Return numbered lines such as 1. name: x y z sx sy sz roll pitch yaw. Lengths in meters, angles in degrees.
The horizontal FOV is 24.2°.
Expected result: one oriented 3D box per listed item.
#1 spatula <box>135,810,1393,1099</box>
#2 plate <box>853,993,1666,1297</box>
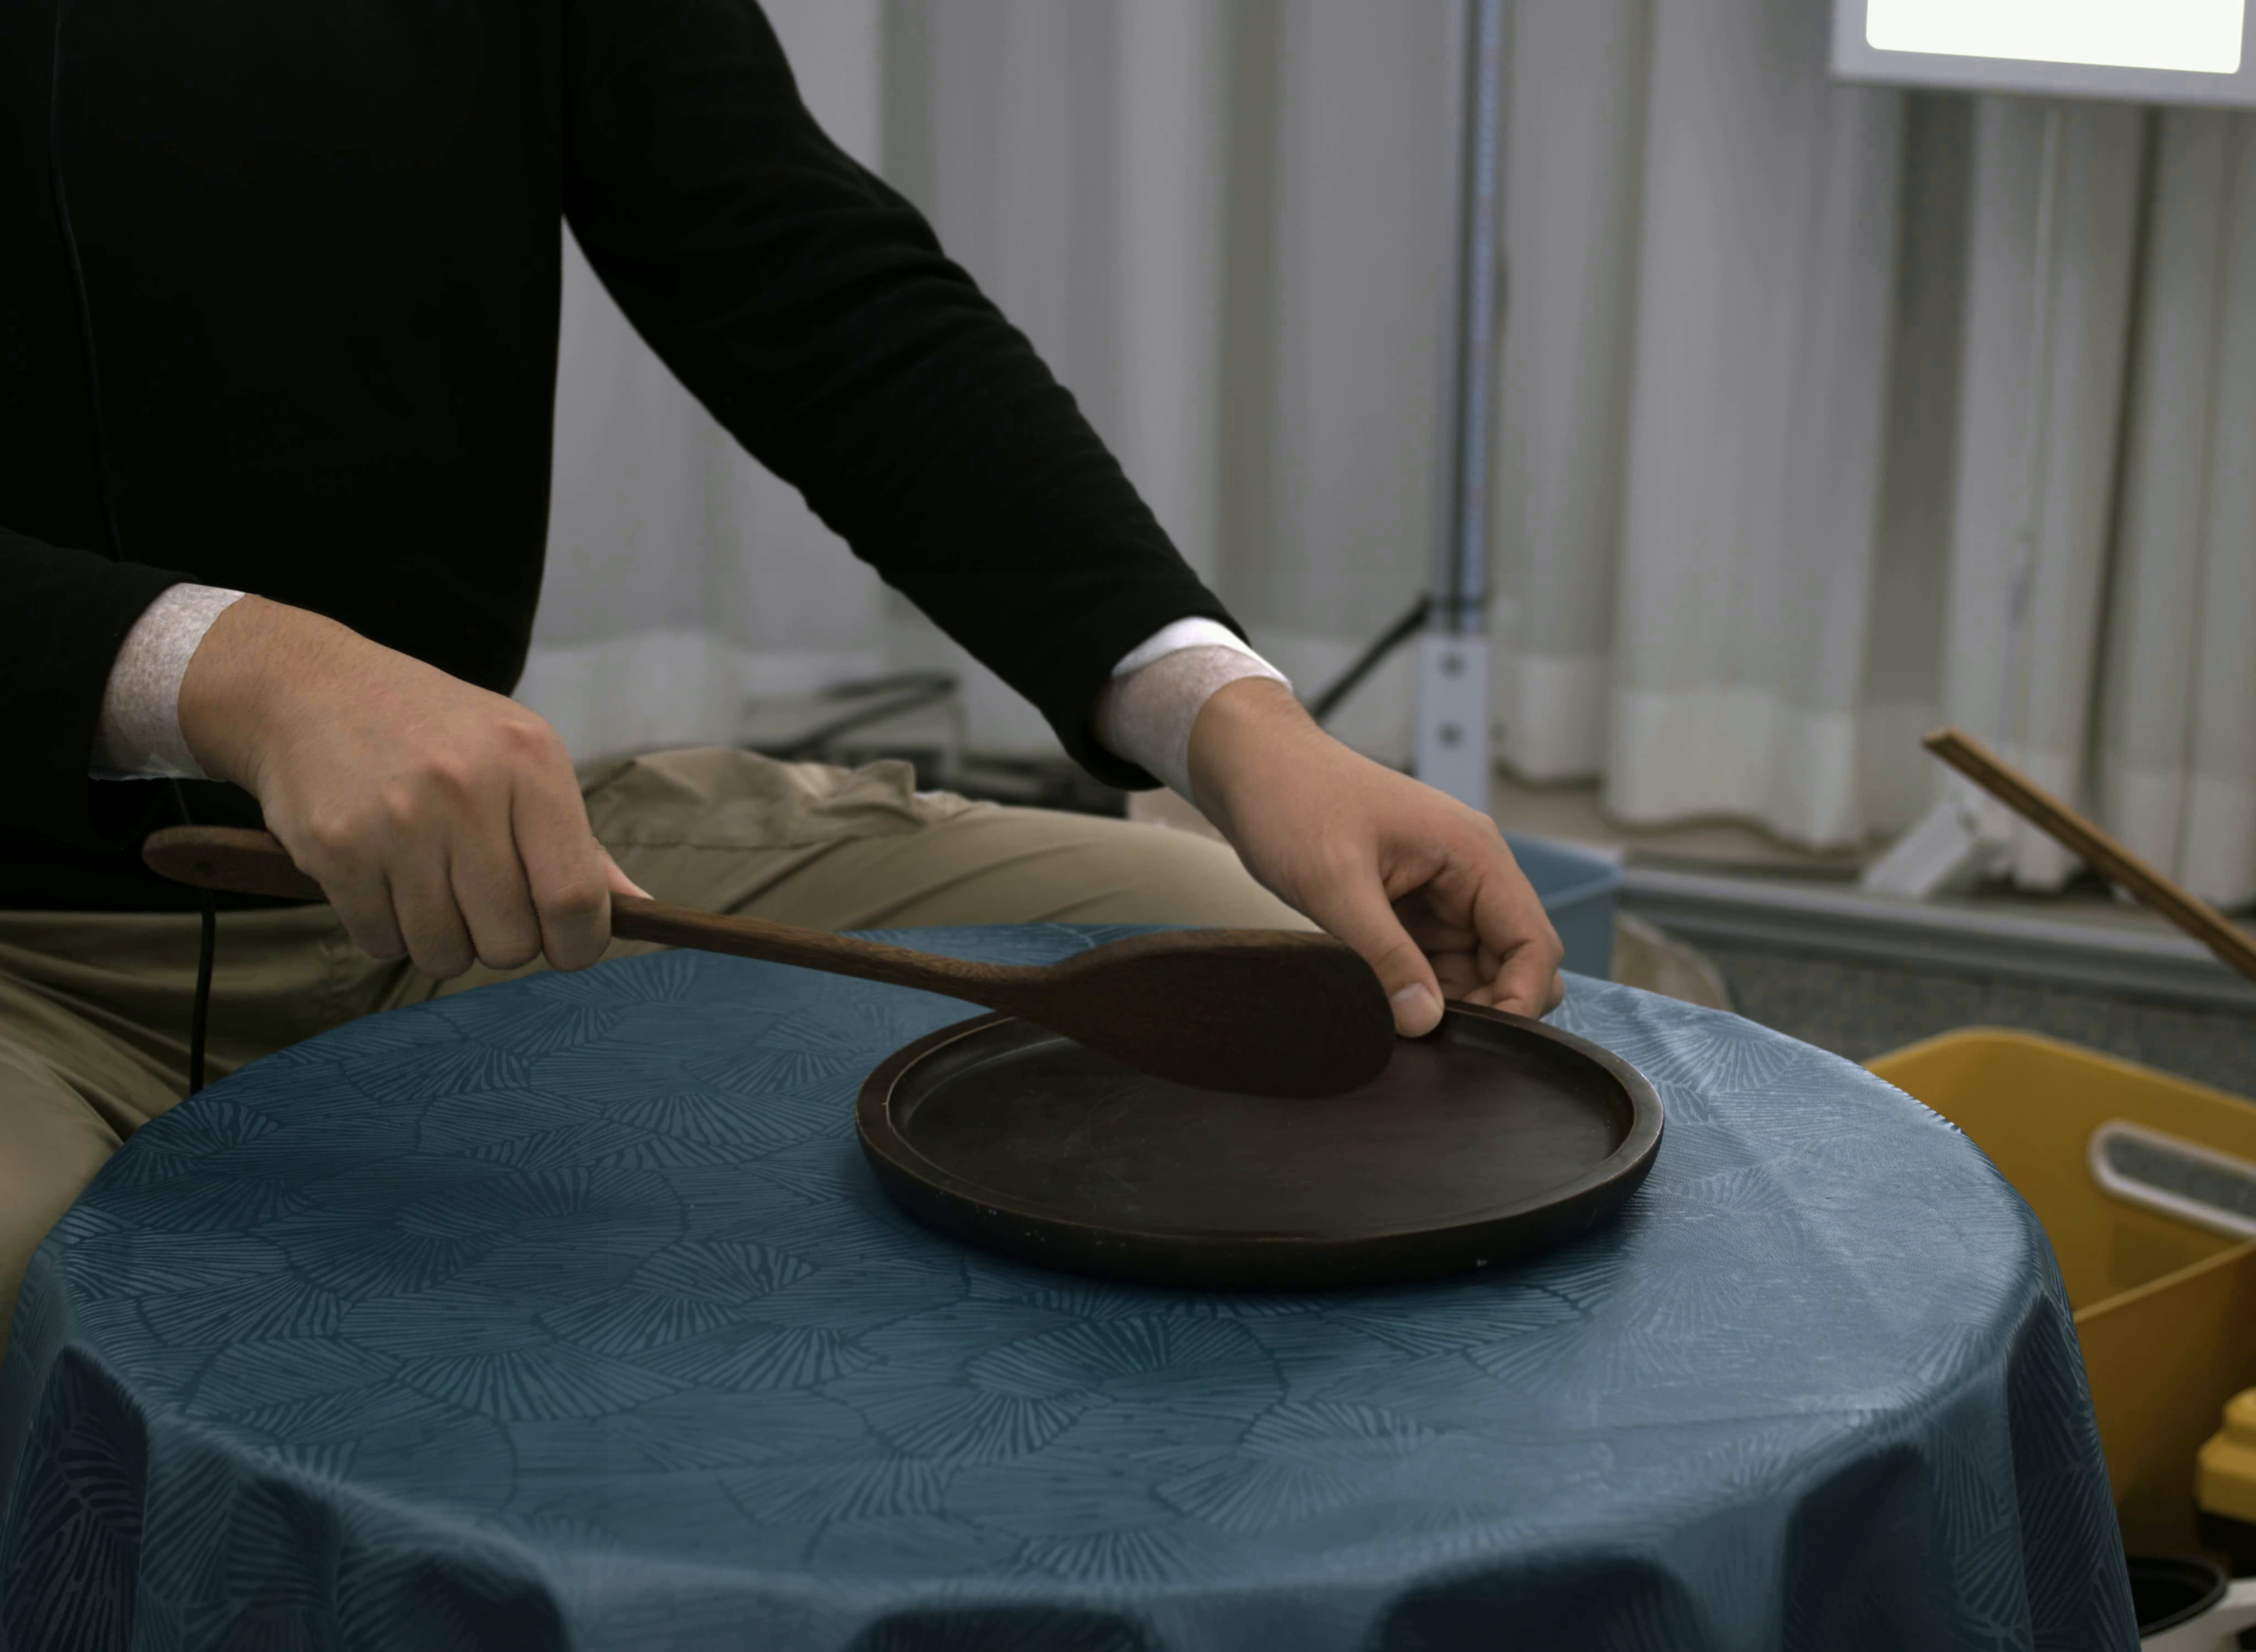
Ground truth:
1. spatula: -0.111 0.032 1.559 0.383 0.097 0.016 9 60 8
2. plate: 0.041 0.095 1.639 0.254 0.029 0.253 -1 16 1
